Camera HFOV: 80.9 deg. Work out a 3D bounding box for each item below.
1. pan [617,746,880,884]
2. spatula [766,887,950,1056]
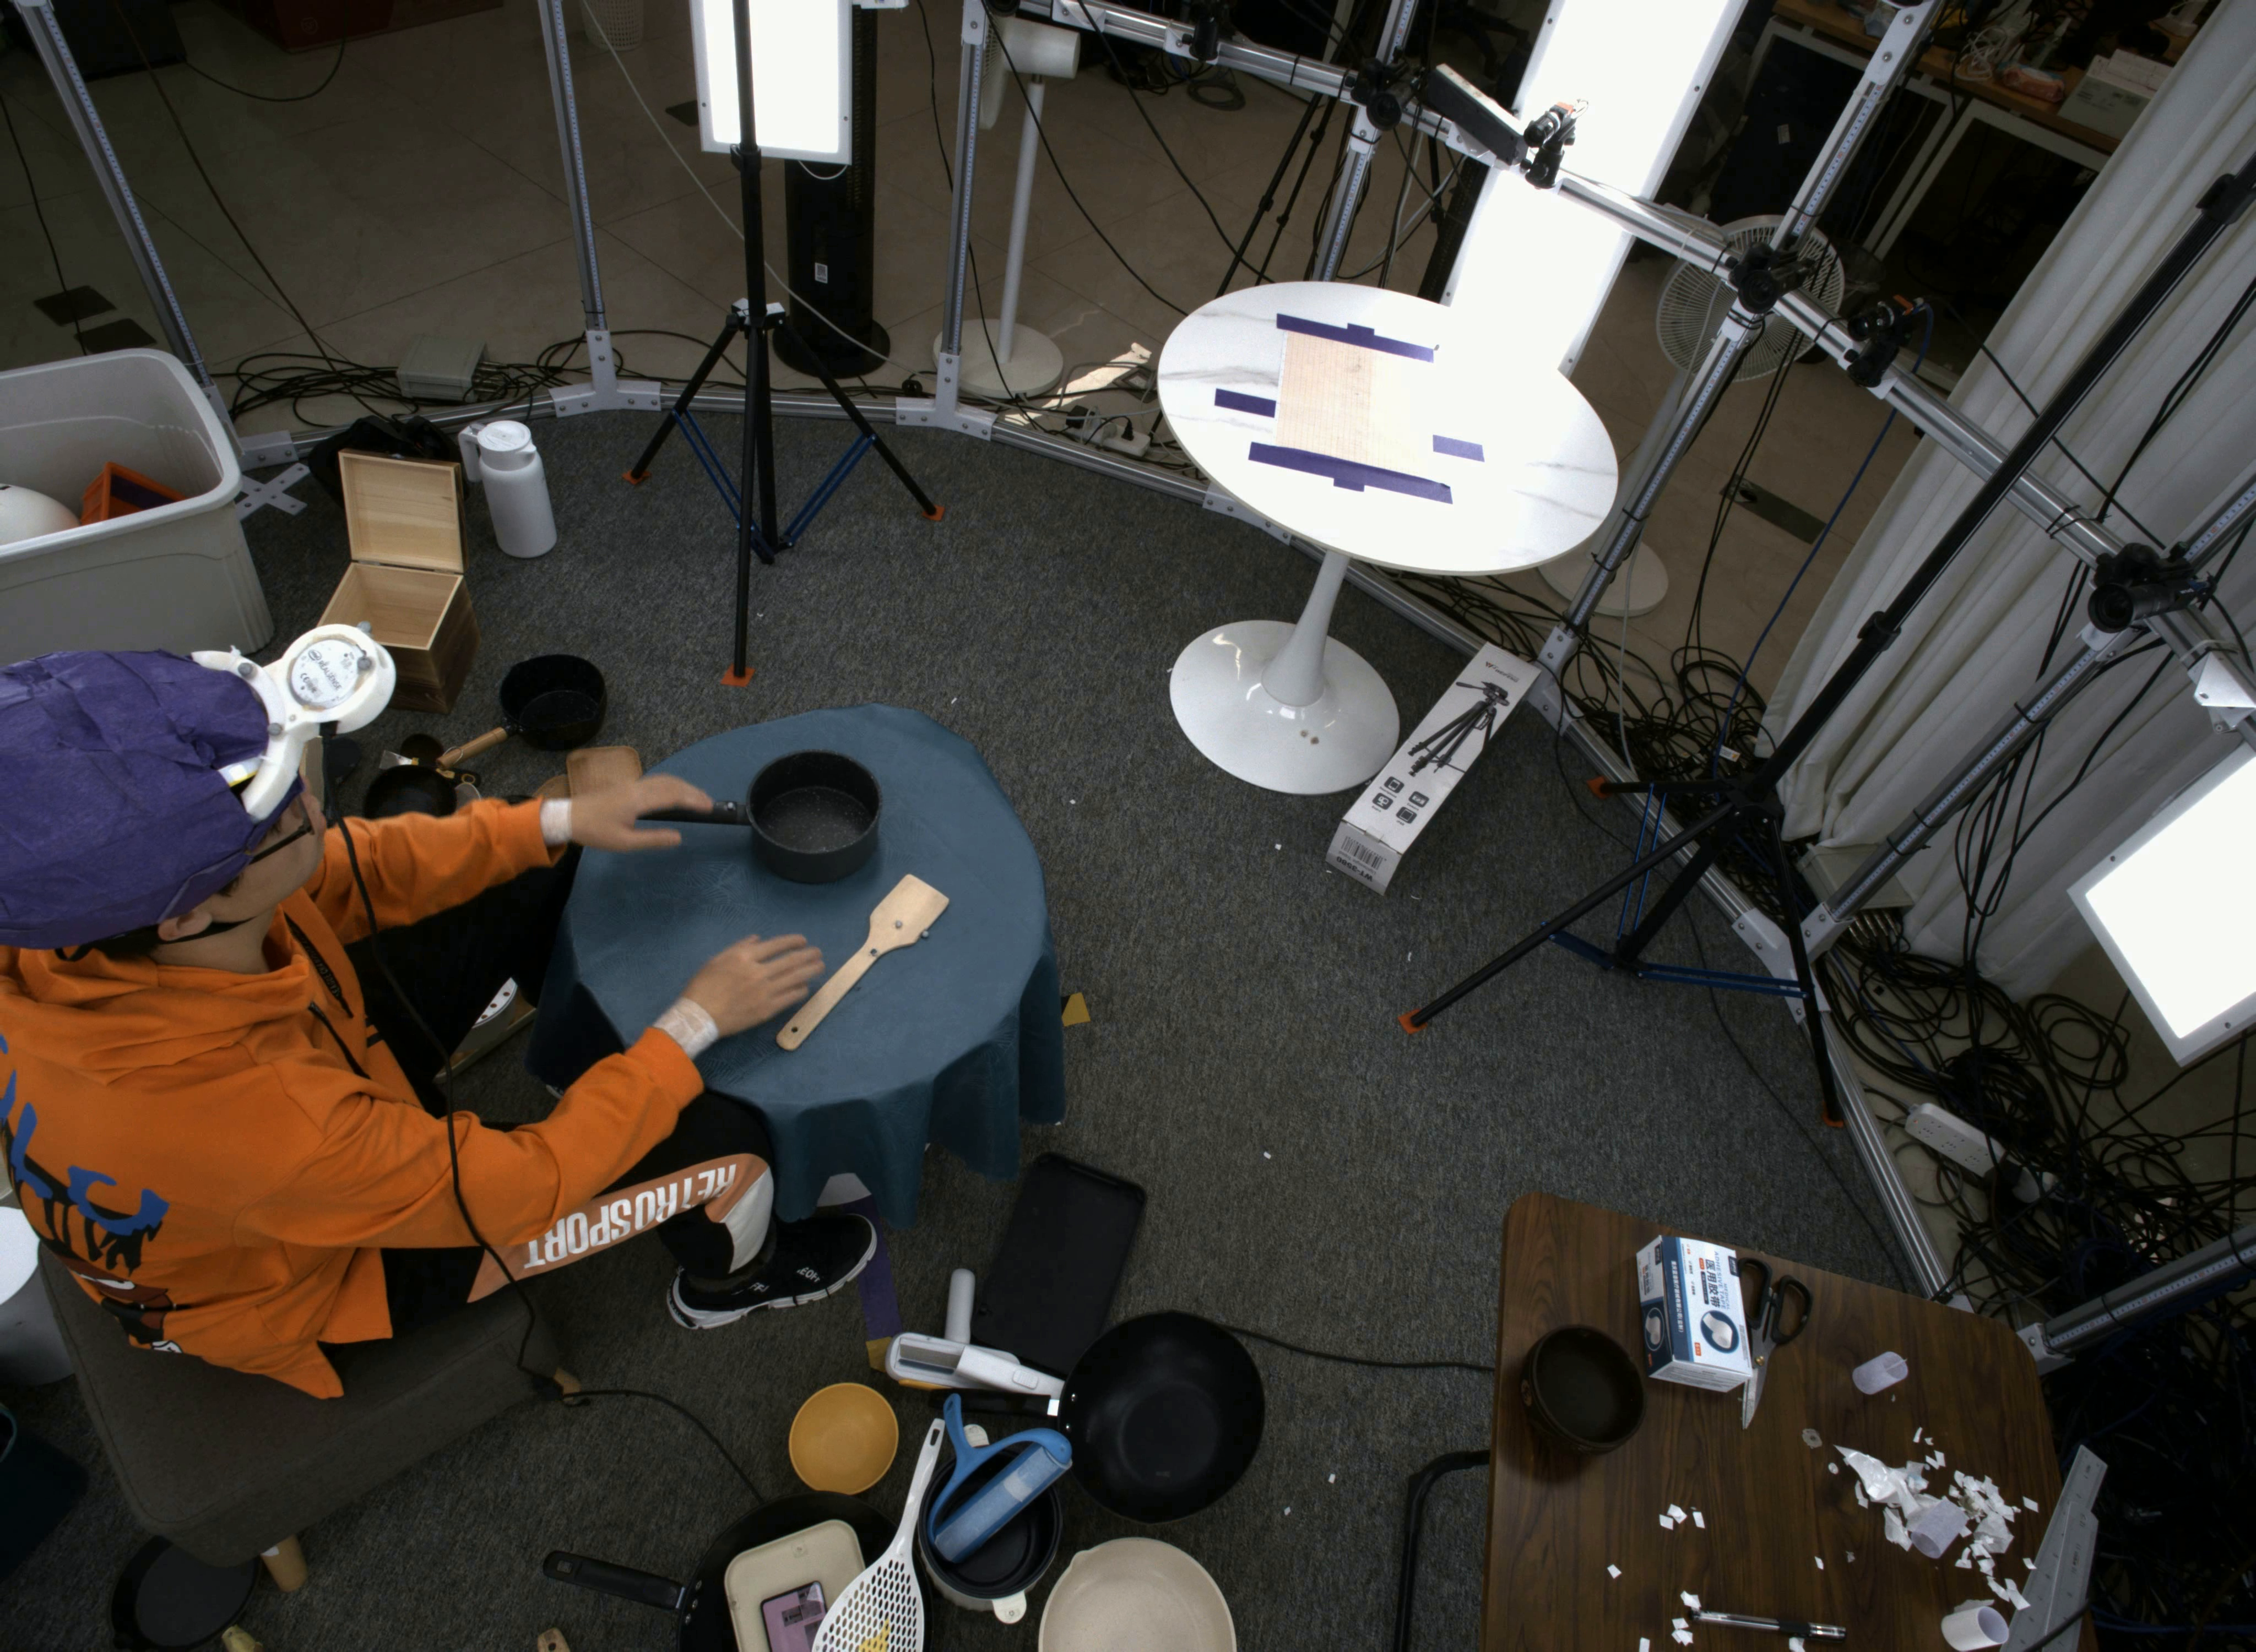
[{"bbox_3d":[-0.484,-0.014,1.654,0.330,0.088,0.168,1,53,-16],"label":"pan"},{"bbox_3d":[-0.335,0.179,1.602,0.071,0.011,0.293,37,52,9],"label":"spatula"}]
